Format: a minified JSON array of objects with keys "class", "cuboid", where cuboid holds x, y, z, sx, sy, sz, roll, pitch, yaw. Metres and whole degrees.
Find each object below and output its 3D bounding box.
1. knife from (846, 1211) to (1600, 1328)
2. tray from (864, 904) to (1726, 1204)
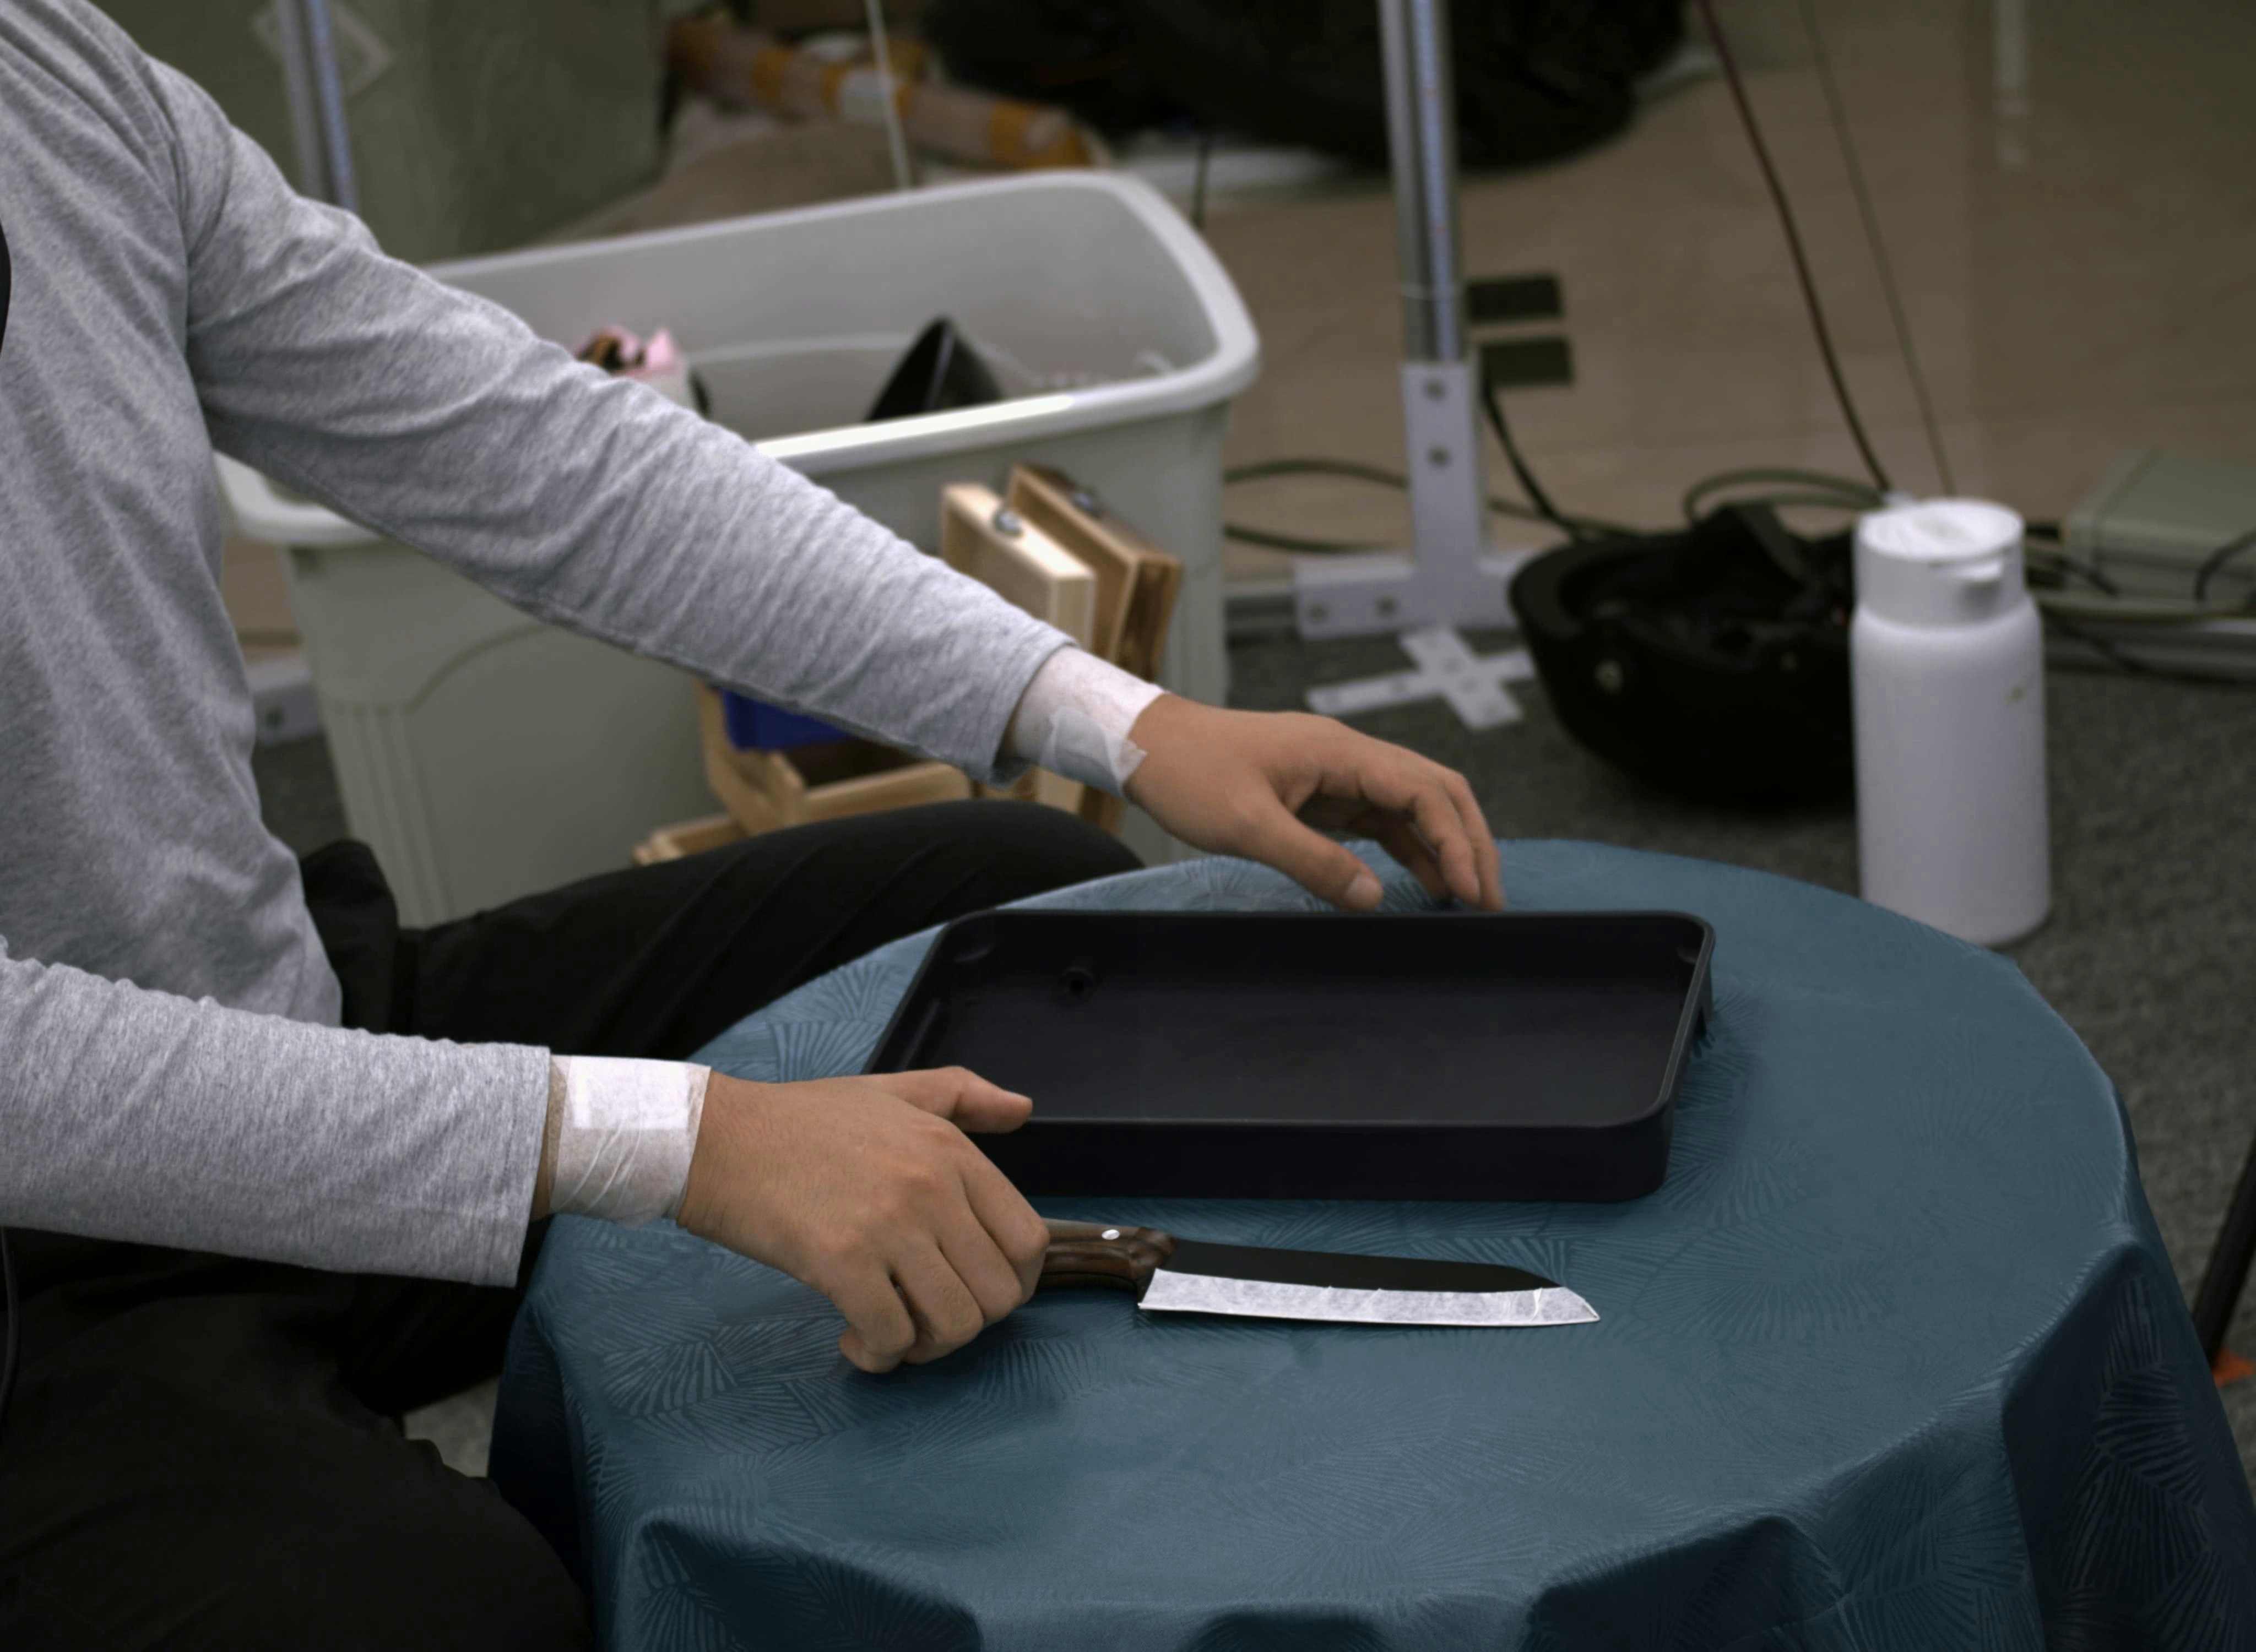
[{"class":"knife","cuboid":[0.031,0.164,2.072,0.288,0.020,0.049,4,32,16]},{"class":"tray","cuboid":[0.068,0.087,2.204,0.317,0.037,0.181,-1,25,12]}]
